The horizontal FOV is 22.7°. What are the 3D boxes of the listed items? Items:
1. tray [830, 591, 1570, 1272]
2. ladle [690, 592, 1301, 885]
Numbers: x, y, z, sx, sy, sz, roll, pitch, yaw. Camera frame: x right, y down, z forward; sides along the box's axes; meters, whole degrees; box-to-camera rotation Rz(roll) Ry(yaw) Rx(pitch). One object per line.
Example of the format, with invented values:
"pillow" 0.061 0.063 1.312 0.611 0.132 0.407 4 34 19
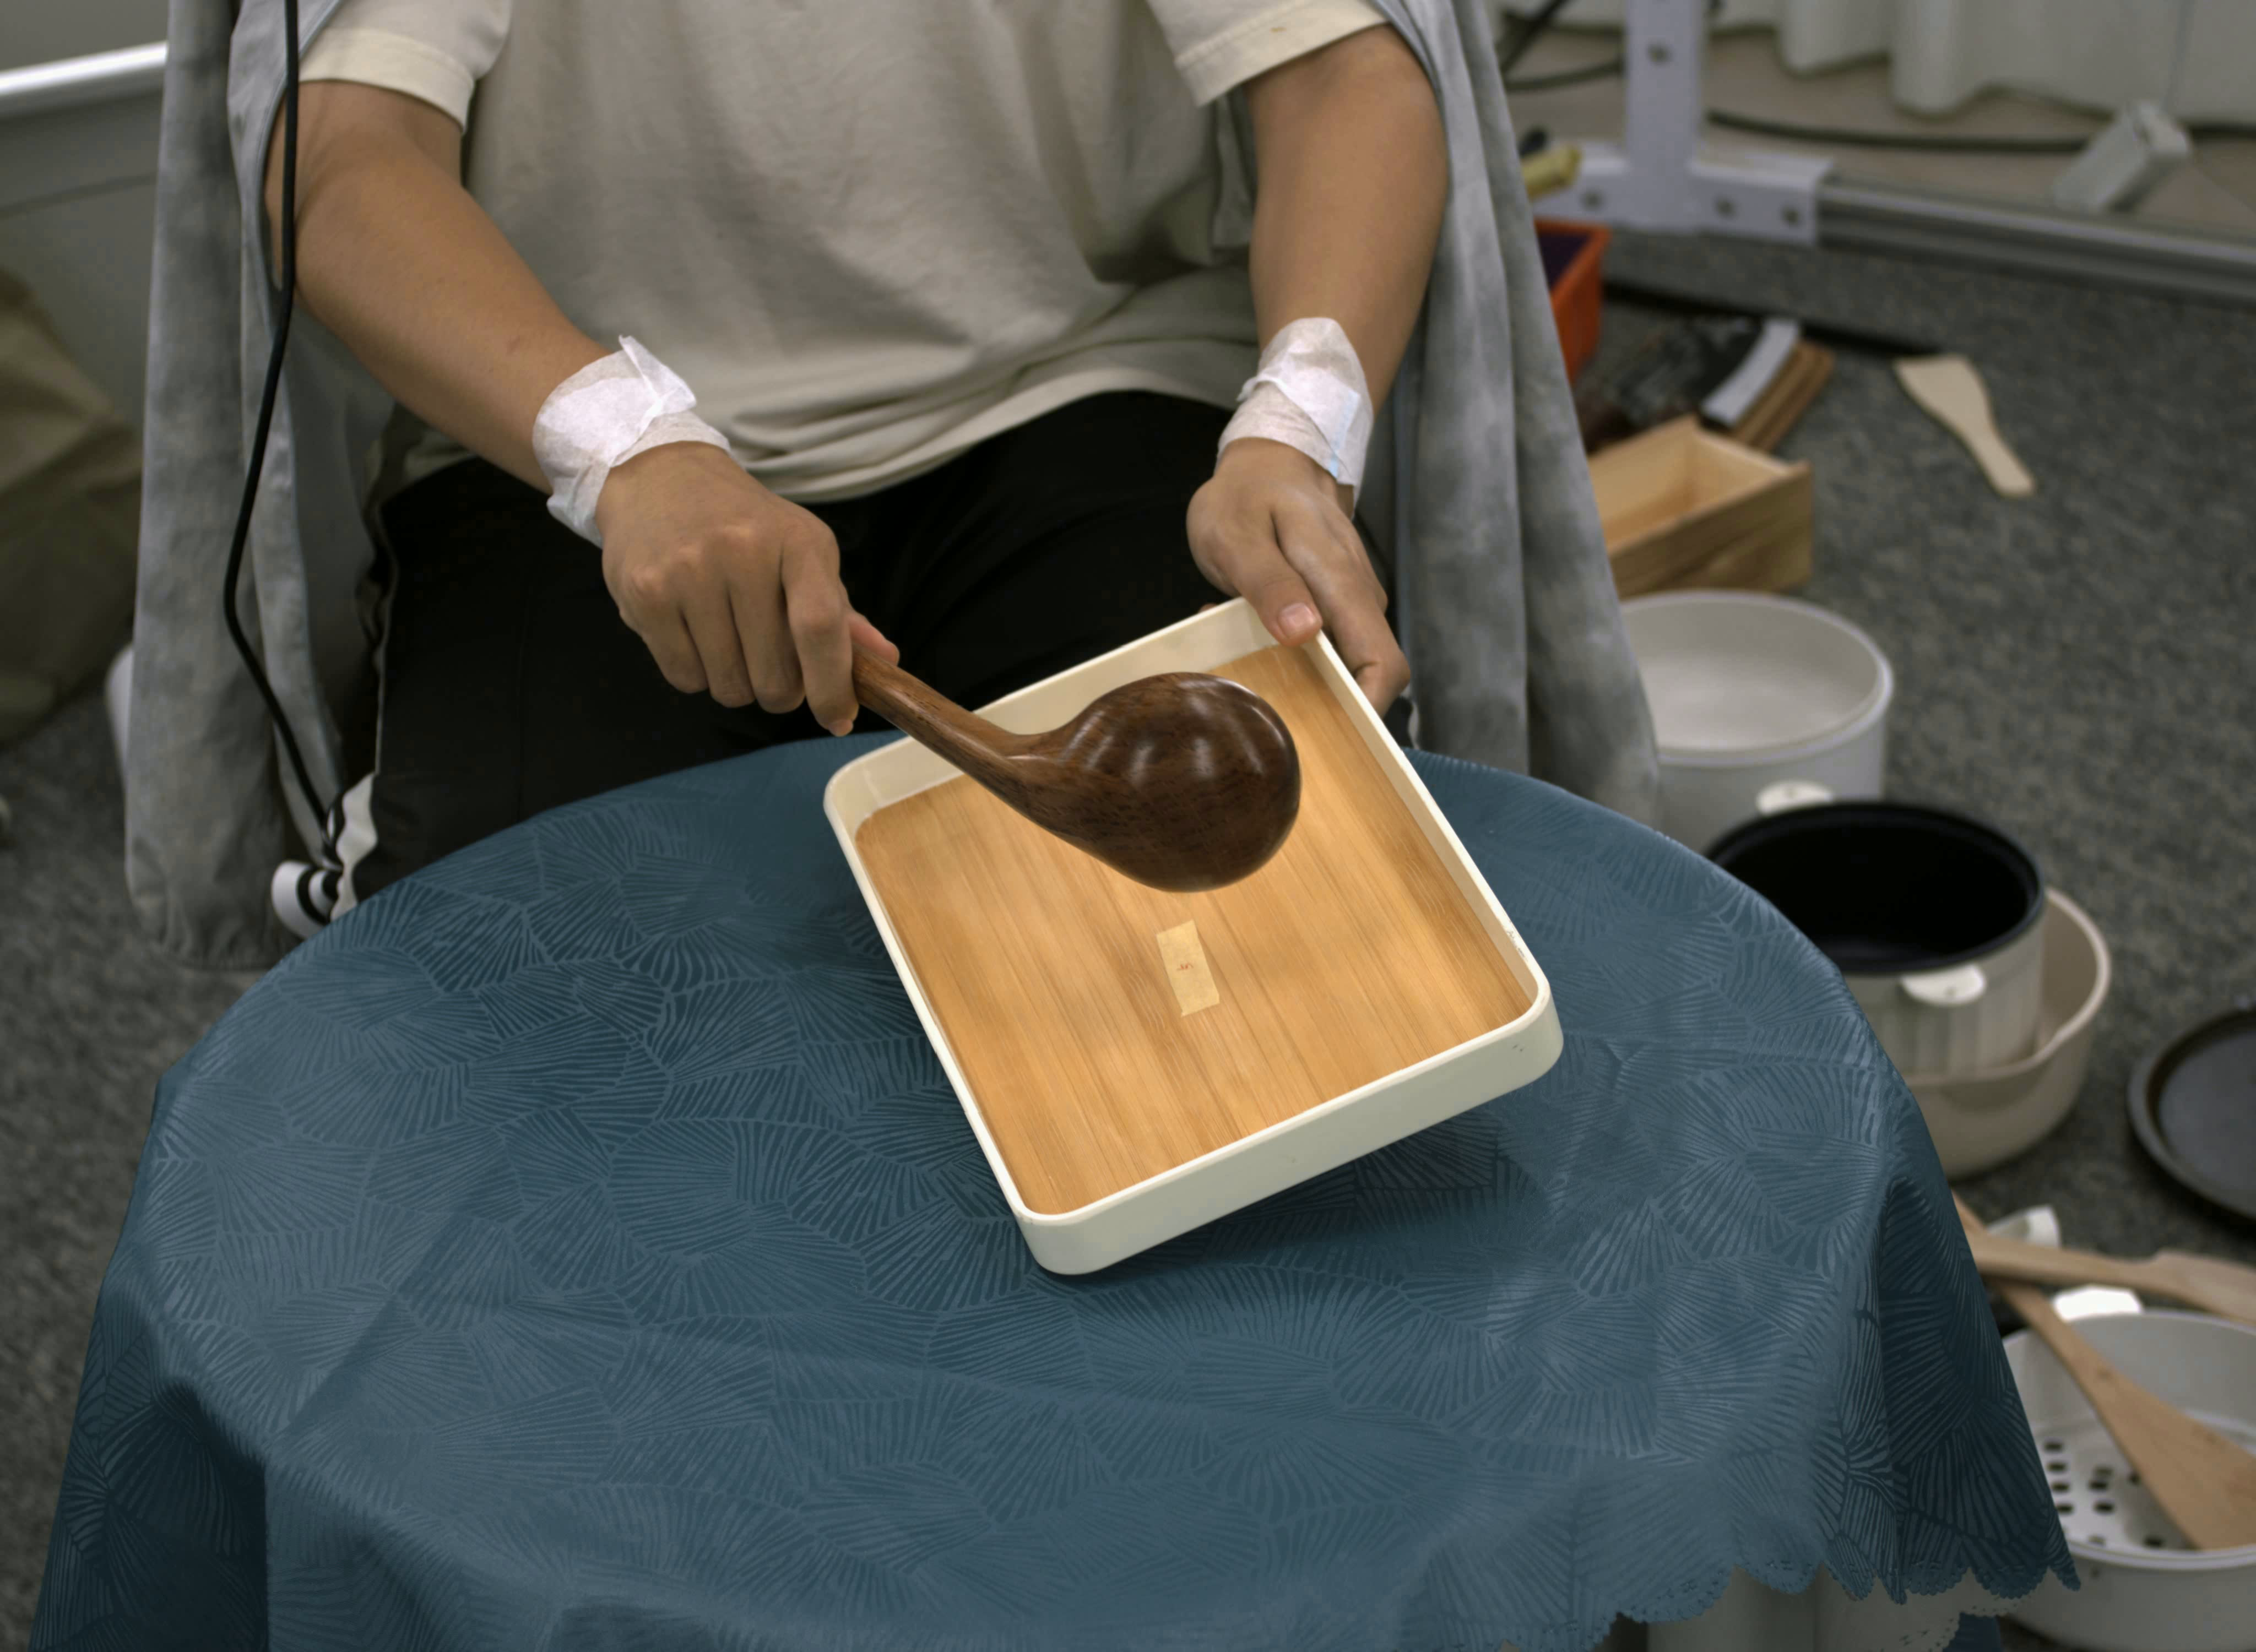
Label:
"tray" 0.019 0.030 1.930 0.191 0.027 0.304 -23 34 -4
"ladle" -0.047 -0.048 1.935 0.077 0.081 0.274 -22 30 -31
